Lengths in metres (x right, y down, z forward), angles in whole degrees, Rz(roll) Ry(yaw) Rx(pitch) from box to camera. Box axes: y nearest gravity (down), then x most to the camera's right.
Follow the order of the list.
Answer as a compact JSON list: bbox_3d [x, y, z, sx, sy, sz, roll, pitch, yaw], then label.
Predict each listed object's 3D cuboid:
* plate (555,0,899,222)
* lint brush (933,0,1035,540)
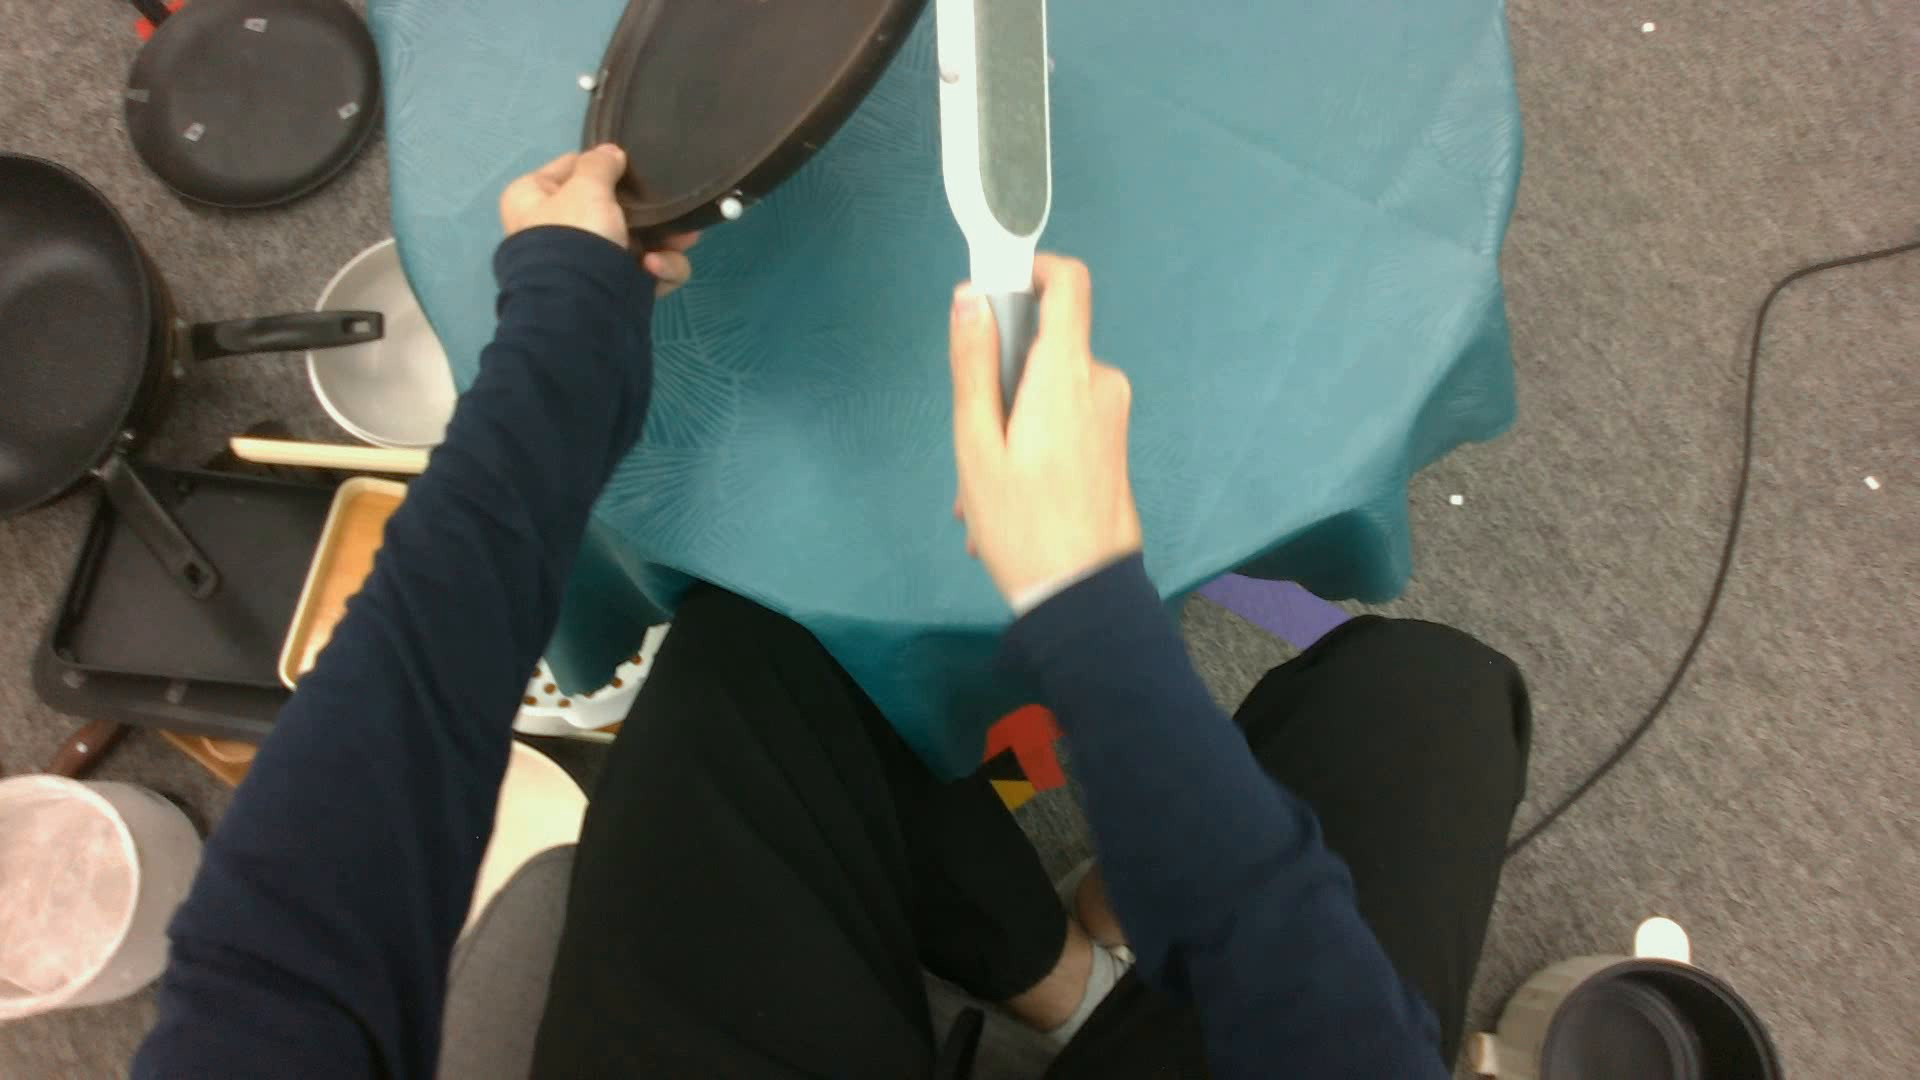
[{"bbox_3d":[-0.096,-0.252,0.617,0.029,0.254,0.255,30,72,-40],"label":"plate"},{"bbox_3d":[0.010,-0.154,0.527,0.021,0.060,0.309,-2,92,28],"label":"lint brush"}]
